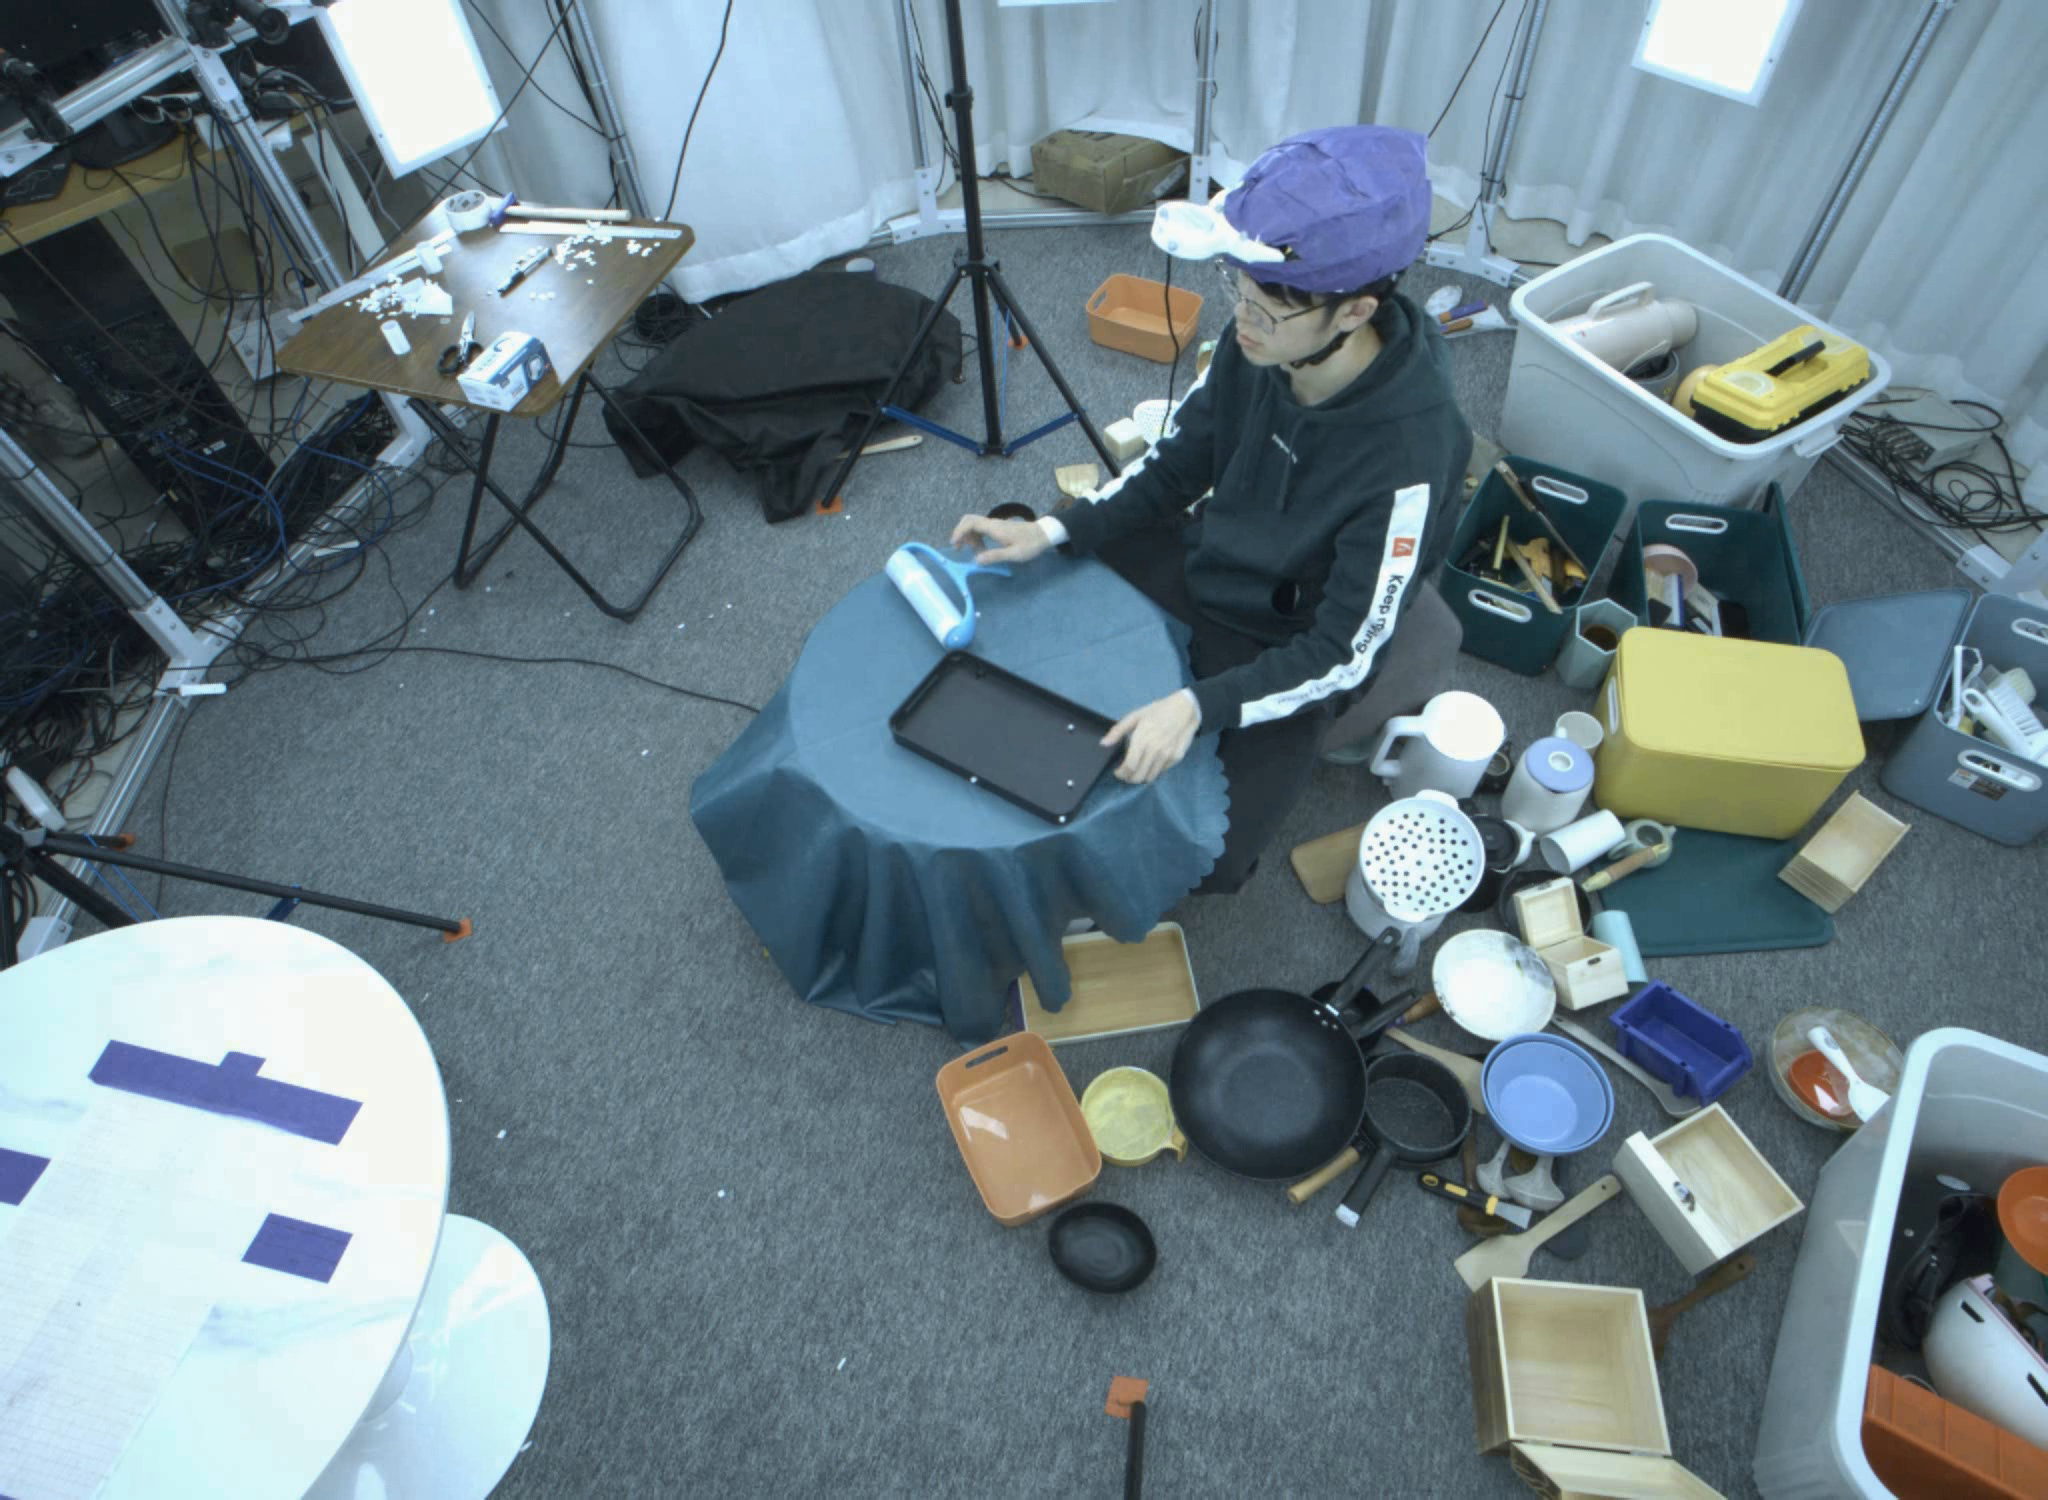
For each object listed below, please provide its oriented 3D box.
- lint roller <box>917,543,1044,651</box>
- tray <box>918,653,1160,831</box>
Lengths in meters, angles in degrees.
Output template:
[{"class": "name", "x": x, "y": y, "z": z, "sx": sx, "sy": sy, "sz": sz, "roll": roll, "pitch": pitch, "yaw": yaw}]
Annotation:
[{"class": "lint roller", "x": -0.053, "y": -0.264, "z": 1.937, "sx": 0.181, "sy": 0.069, "sz": 0.224, "roll": -29, "pitch": 56, "yaw": -15}, {"class": "tray", "x": 0.020, "y": -0.016, "z": 1.772, "sx": 0.313, "sy": 0.037, "sz": 0.185, "roll": 27, "pitch": 59, "yaw": 21}]
